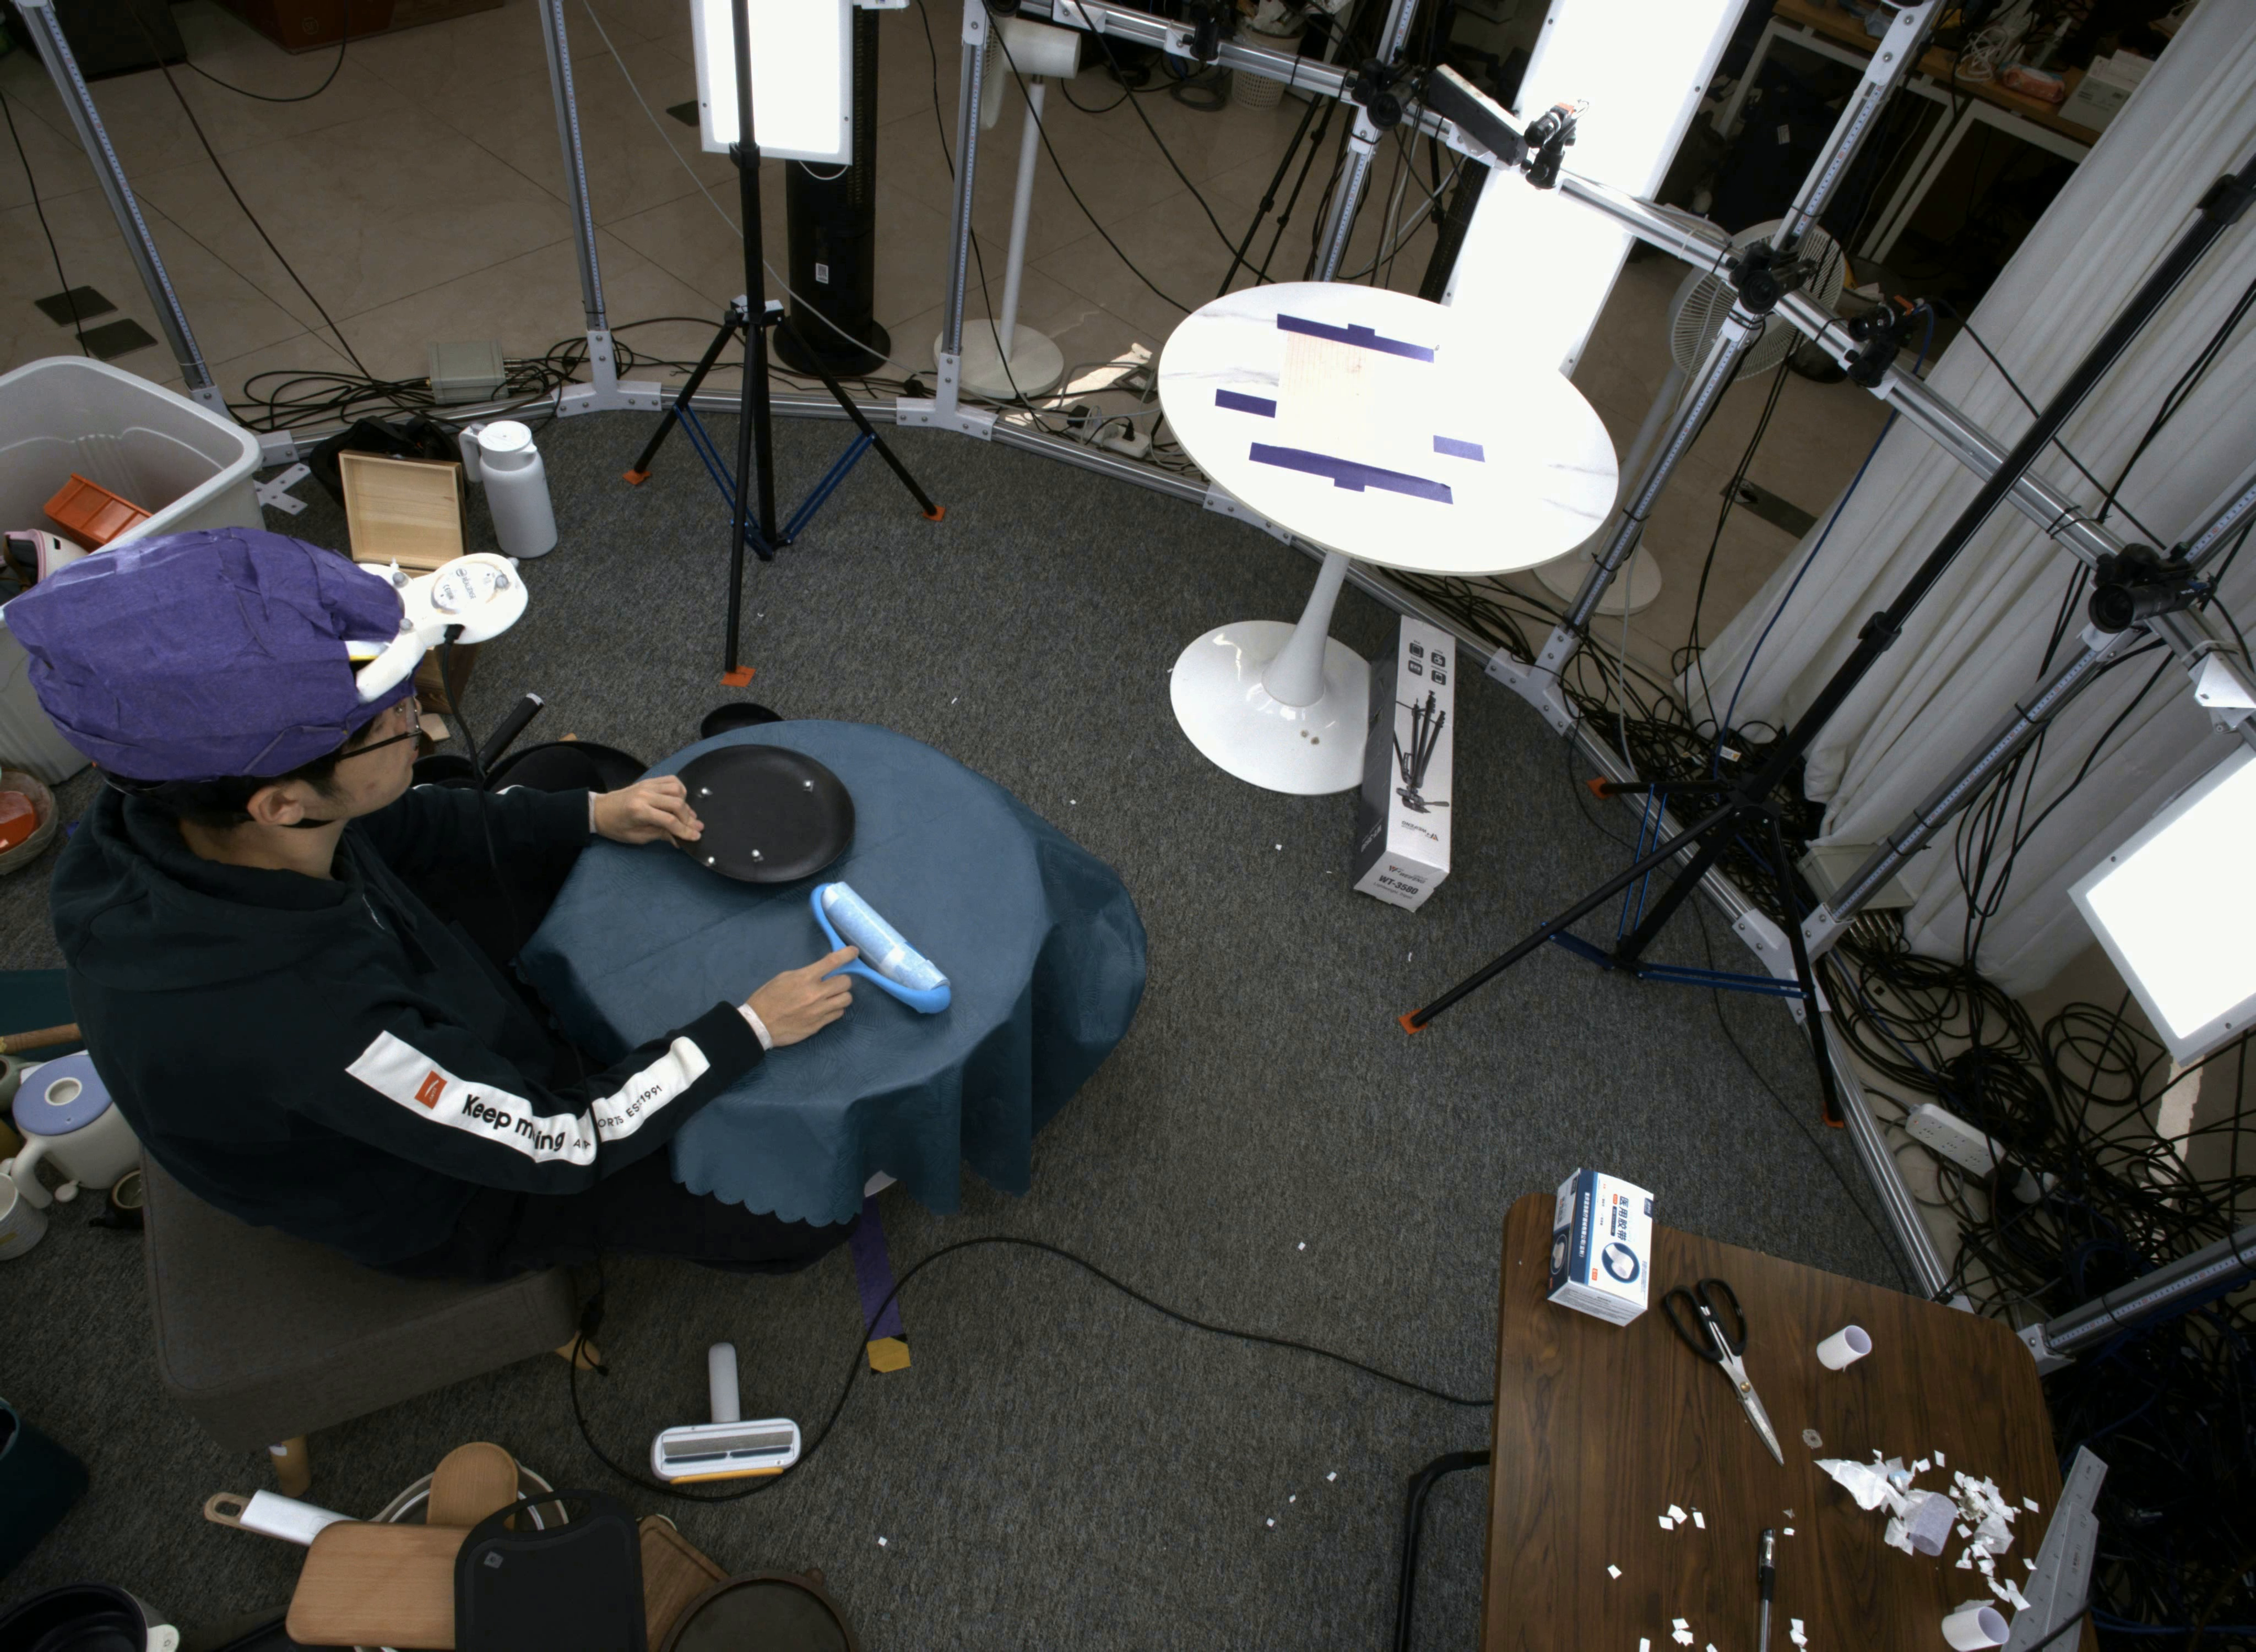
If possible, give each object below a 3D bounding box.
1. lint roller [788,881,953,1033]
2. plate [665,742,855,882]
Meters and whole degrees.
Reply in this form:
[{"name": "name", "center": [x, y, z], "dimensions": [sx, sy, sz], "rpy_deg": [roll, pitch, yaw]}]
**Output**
[{"name": "lint roller", "center": [-0.341, 0.178, 1.584], "dimensions": [0.224, 0.069, 0.180], "rpy_deg": [38, 55, 13]}, {"name": "plate", "center": [-0.482, -0.017, 1.695], "dimensions": [0.245, 0.024, 0.239], "rpy_deg": [14, 46, -13]}]
